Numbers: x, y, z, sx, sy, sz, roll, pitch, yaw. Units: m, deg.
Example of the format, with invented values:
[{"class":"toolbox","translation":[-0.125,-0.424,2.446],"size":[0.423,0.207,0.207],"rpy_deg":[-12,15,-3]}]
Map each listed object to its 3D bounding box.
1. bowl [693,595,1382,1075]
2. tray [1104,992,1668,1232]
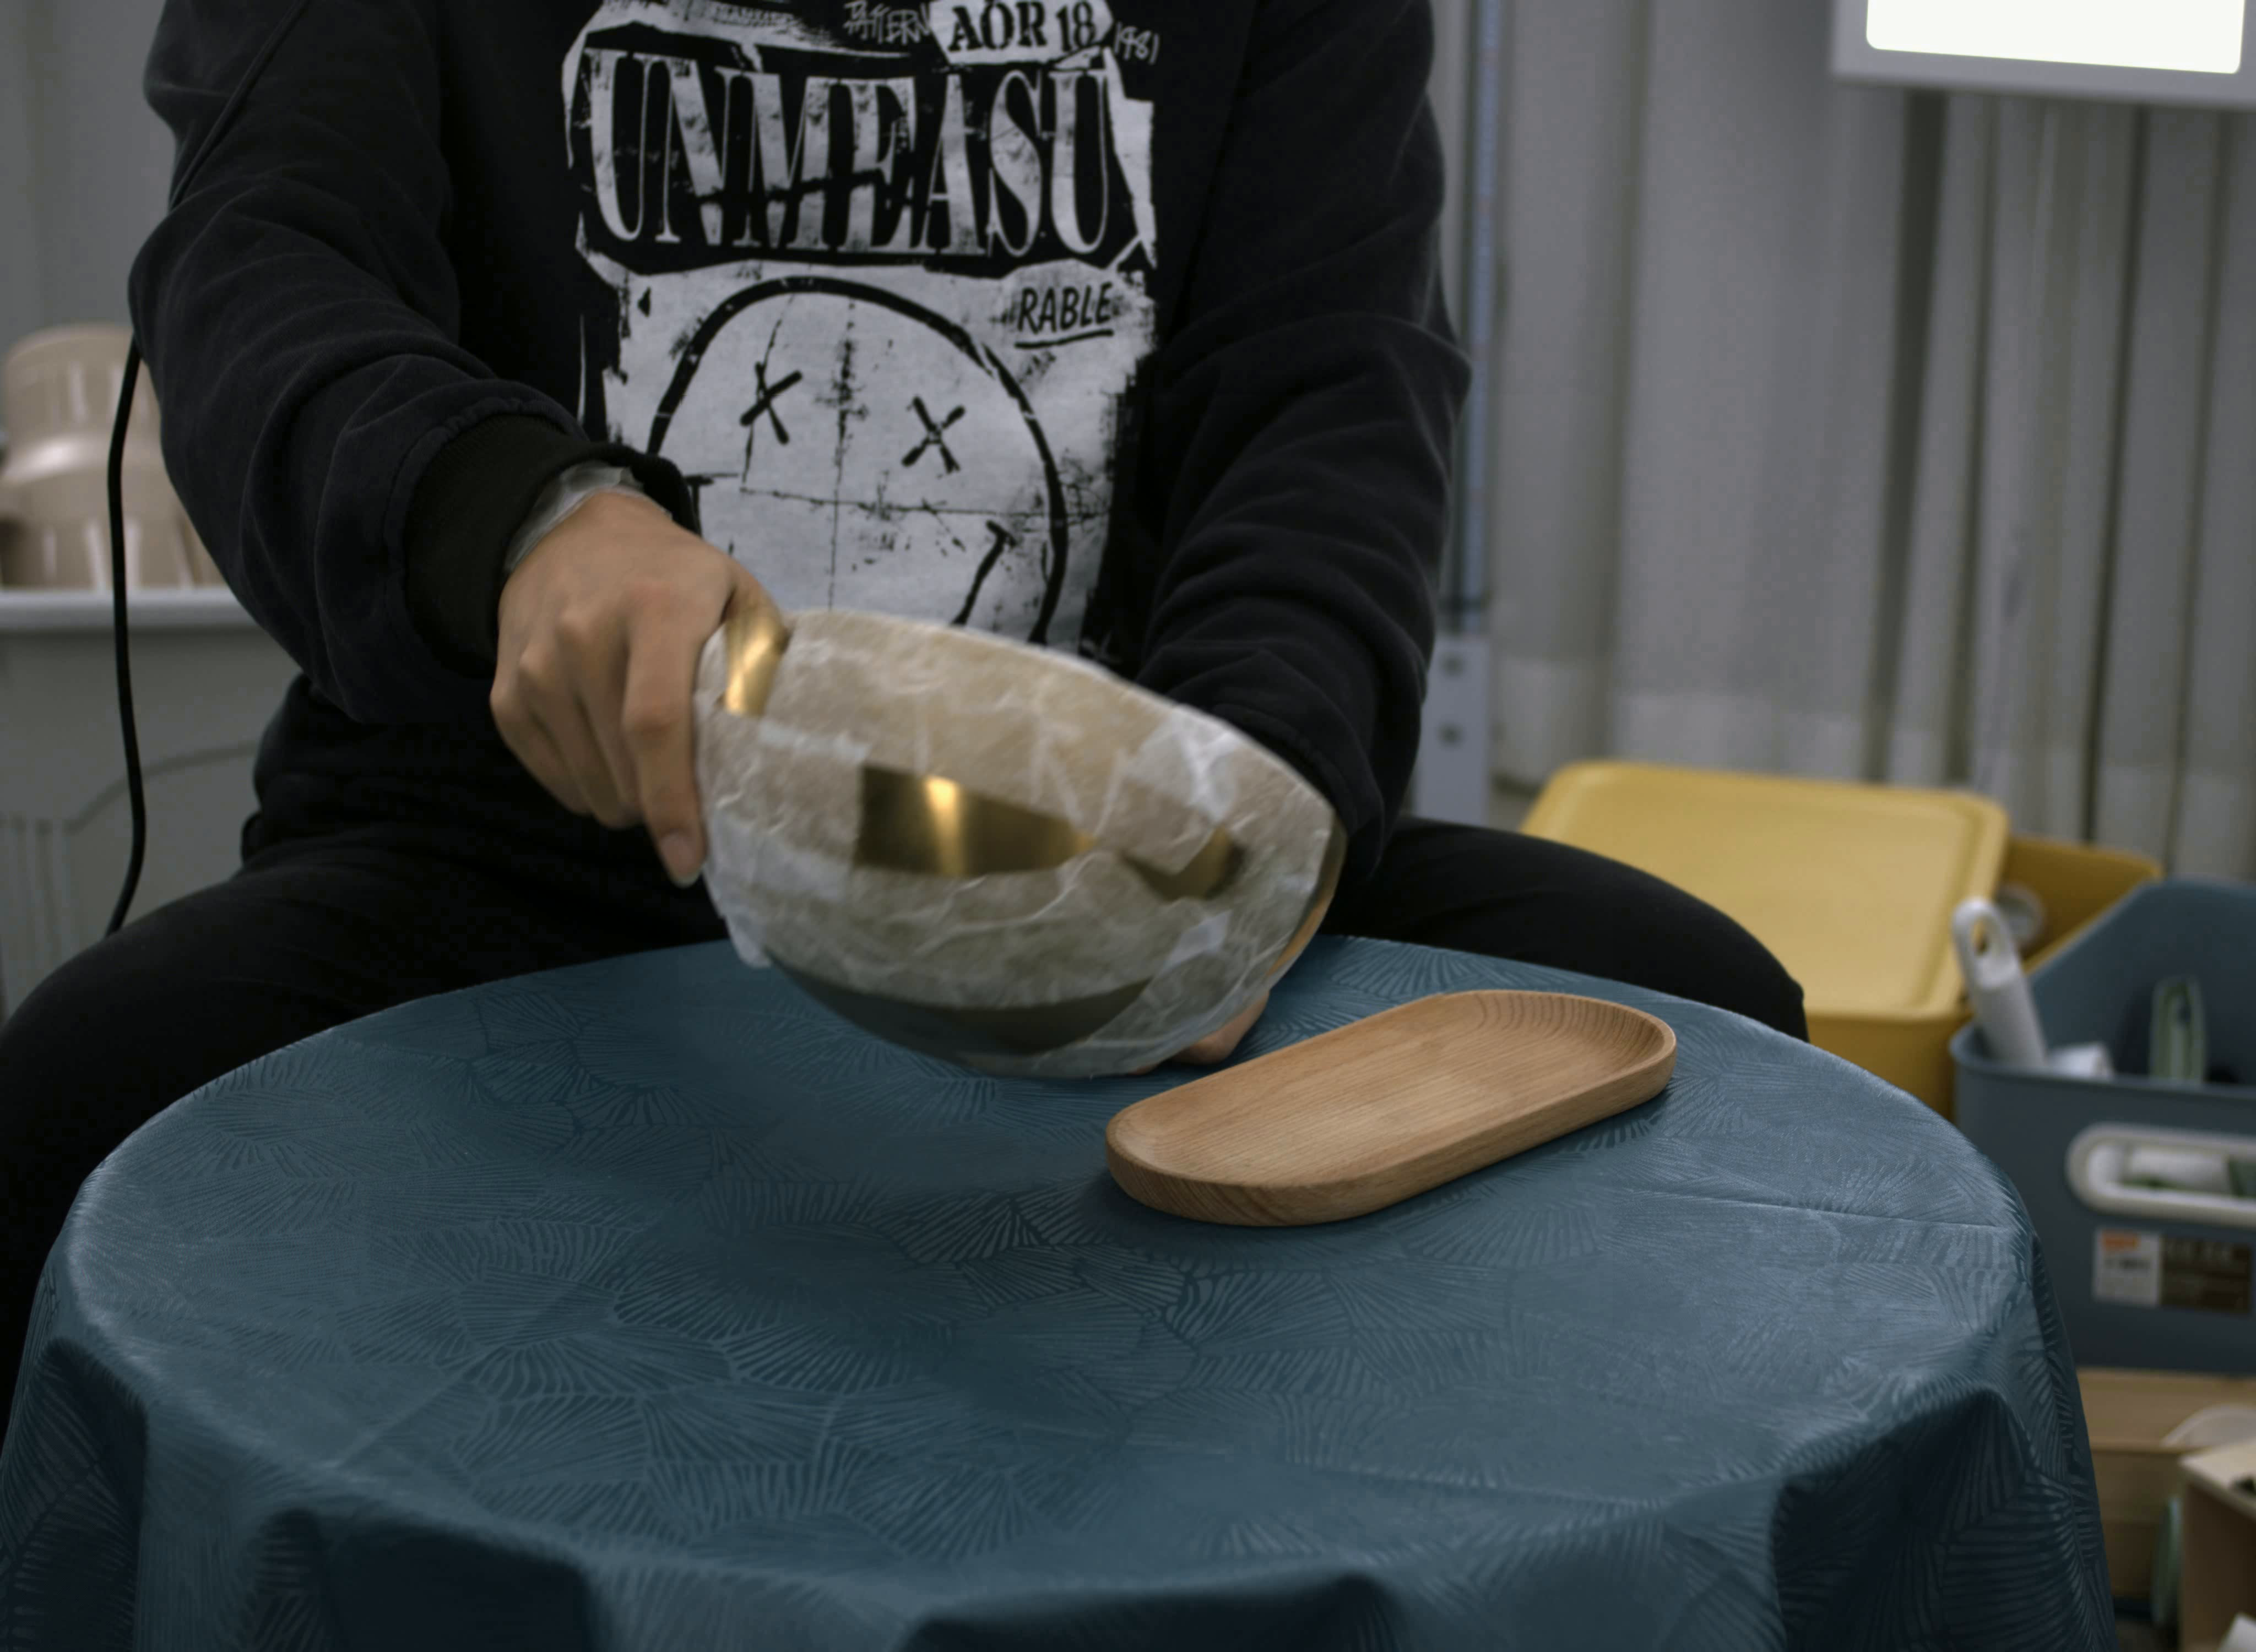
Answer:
[{"class":"bowl","translation":[-0.040,0.018,1.540],"size":[0.213,0.094,0.216],"rpy_deg":[16,-16,5]},{"class":"tray","translation":[0.085,0.090,1.681],"size":[0.100,0.020,0.232],"rpy_deg":[11,20,38]}]
